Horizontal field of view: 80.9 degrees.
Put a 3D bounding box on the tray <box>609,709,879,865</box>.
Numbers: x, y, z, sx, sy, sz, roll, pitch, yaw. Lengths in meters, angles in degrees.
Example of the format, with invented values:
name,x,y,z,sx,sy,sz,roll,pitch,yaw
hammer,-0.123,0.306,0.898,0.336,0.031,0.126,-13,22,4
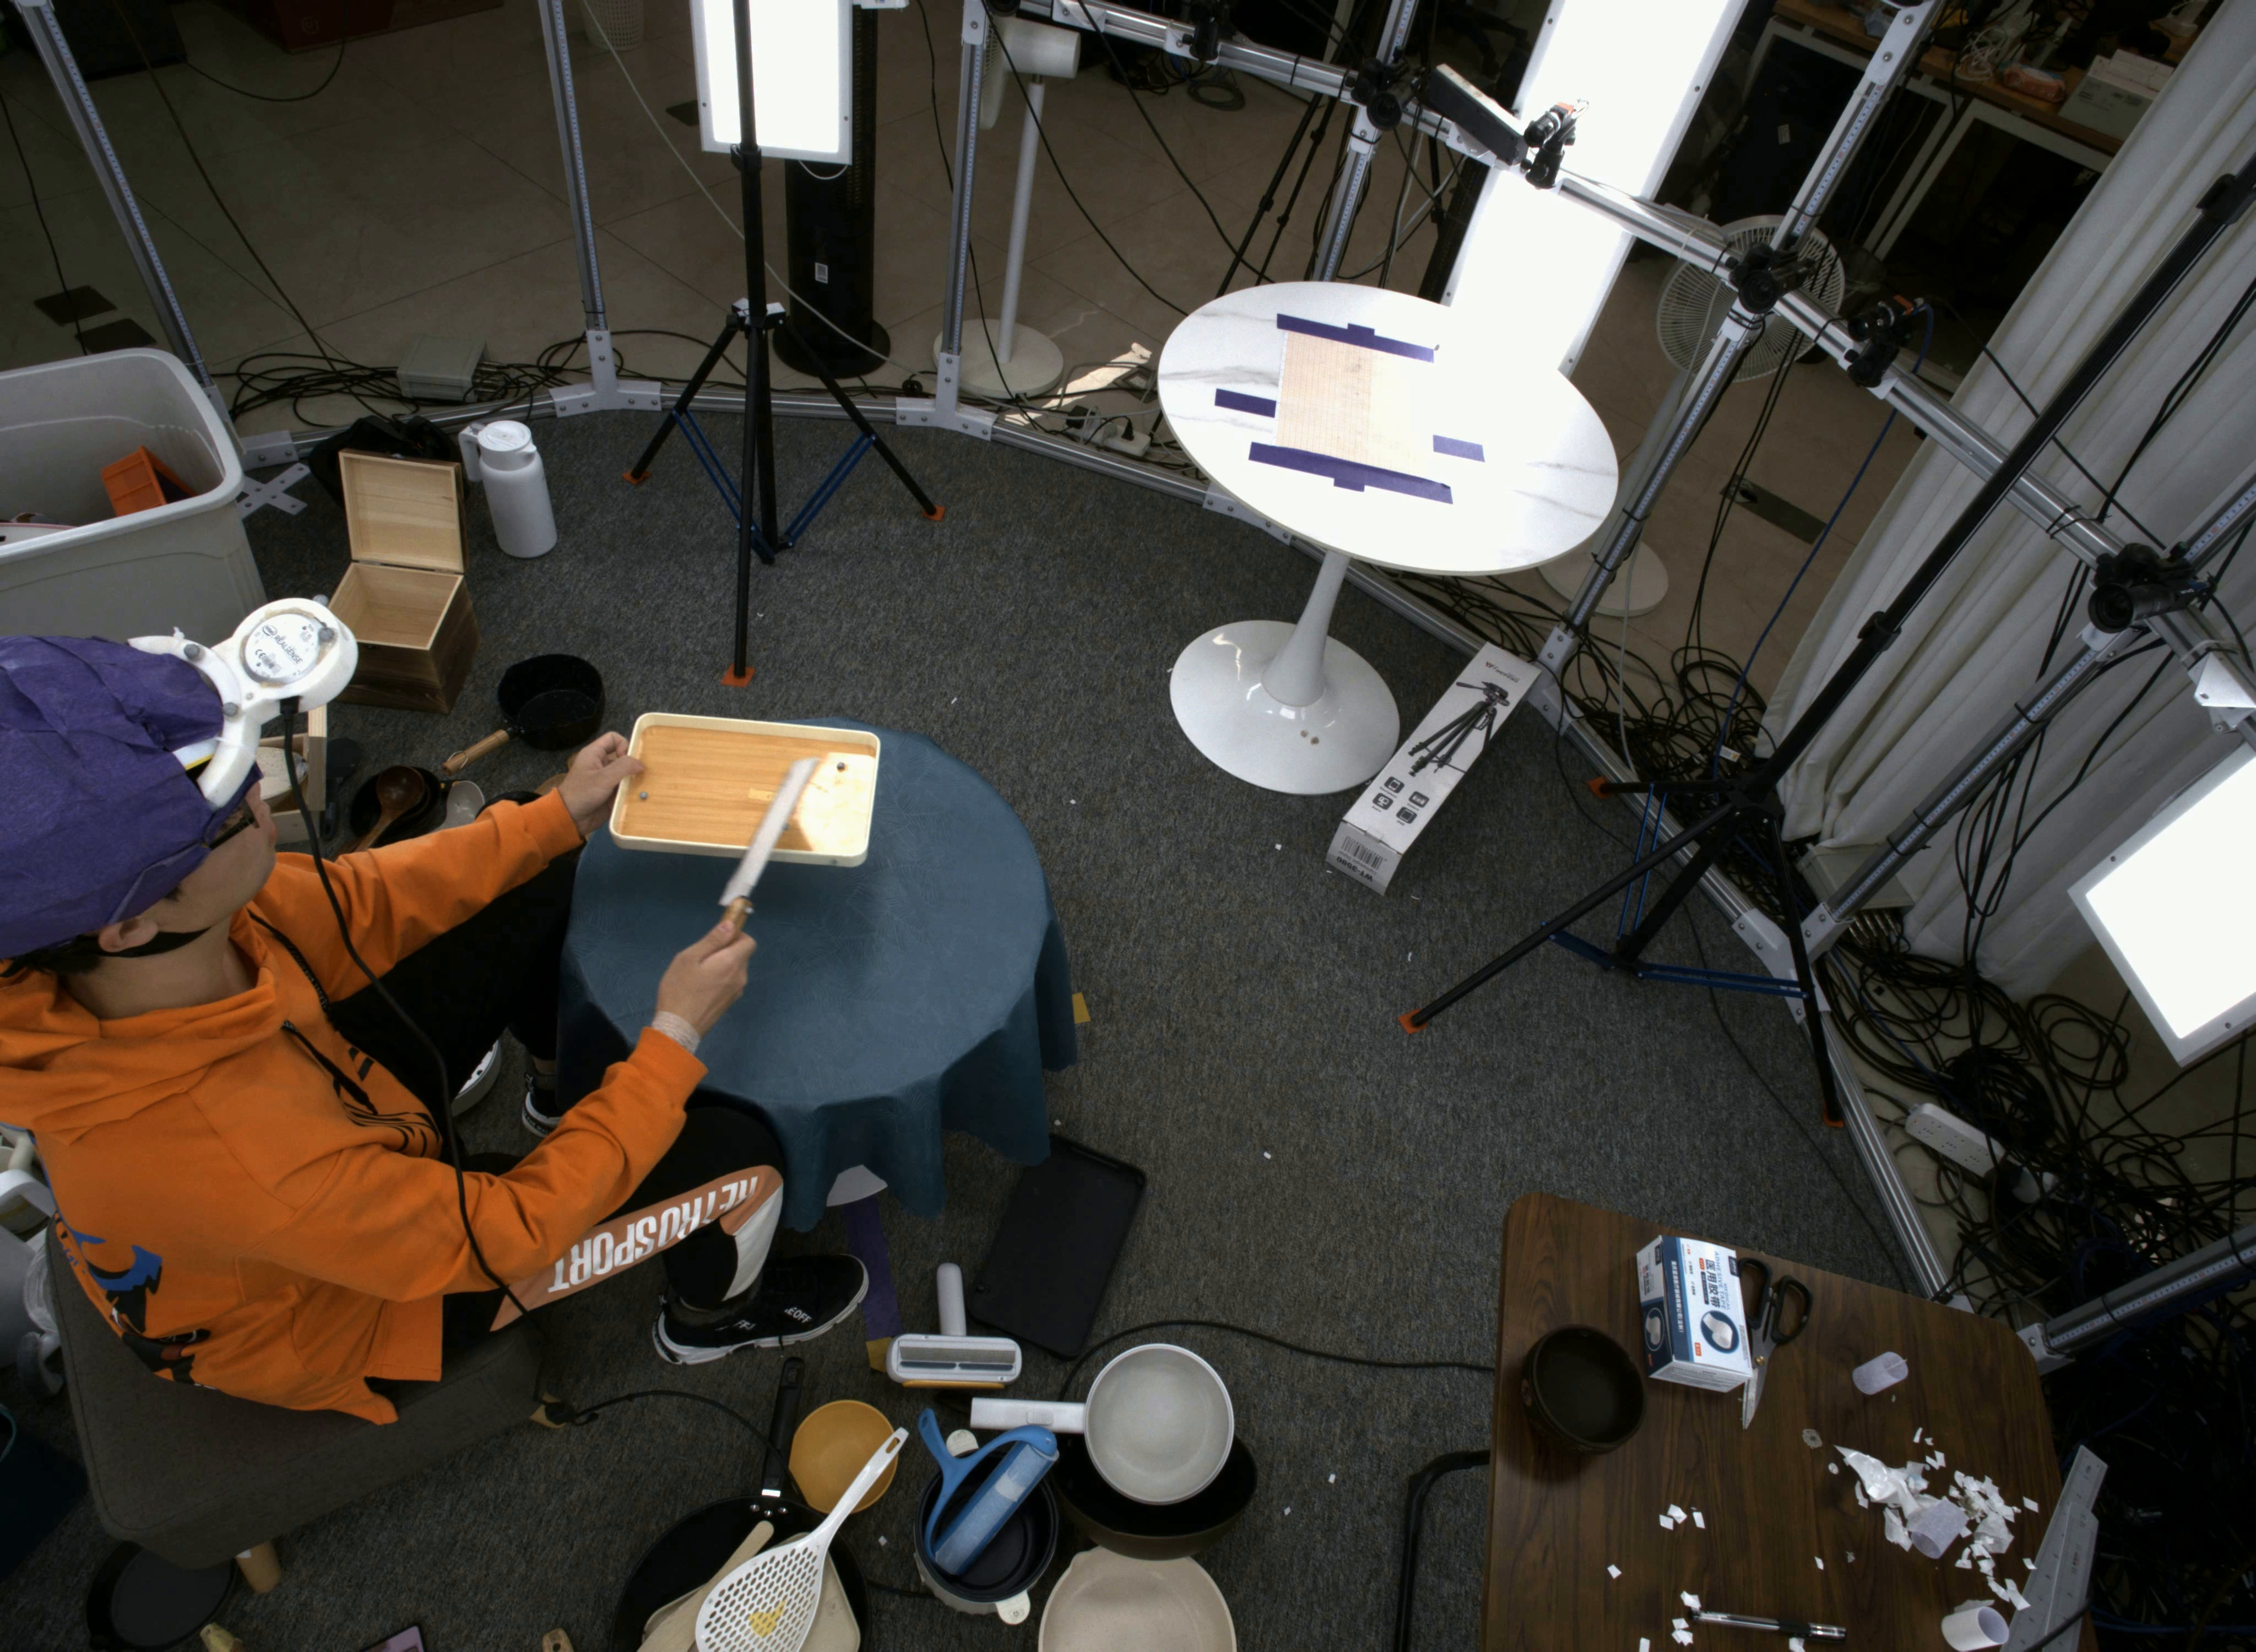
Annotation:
name,x,y,z,sx,sy,sz,roll,pitch,yaw
tray,-0.455,-0.049,1.545,0.300,0.028,0.188,5,56,-11

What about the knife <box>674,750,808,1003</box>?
name,x,y,z,sx,sy,sz,roll,pitch,yaw
knife,-0.434,0.049,1.435,0.021,0.090,0.306,32,71,-31
